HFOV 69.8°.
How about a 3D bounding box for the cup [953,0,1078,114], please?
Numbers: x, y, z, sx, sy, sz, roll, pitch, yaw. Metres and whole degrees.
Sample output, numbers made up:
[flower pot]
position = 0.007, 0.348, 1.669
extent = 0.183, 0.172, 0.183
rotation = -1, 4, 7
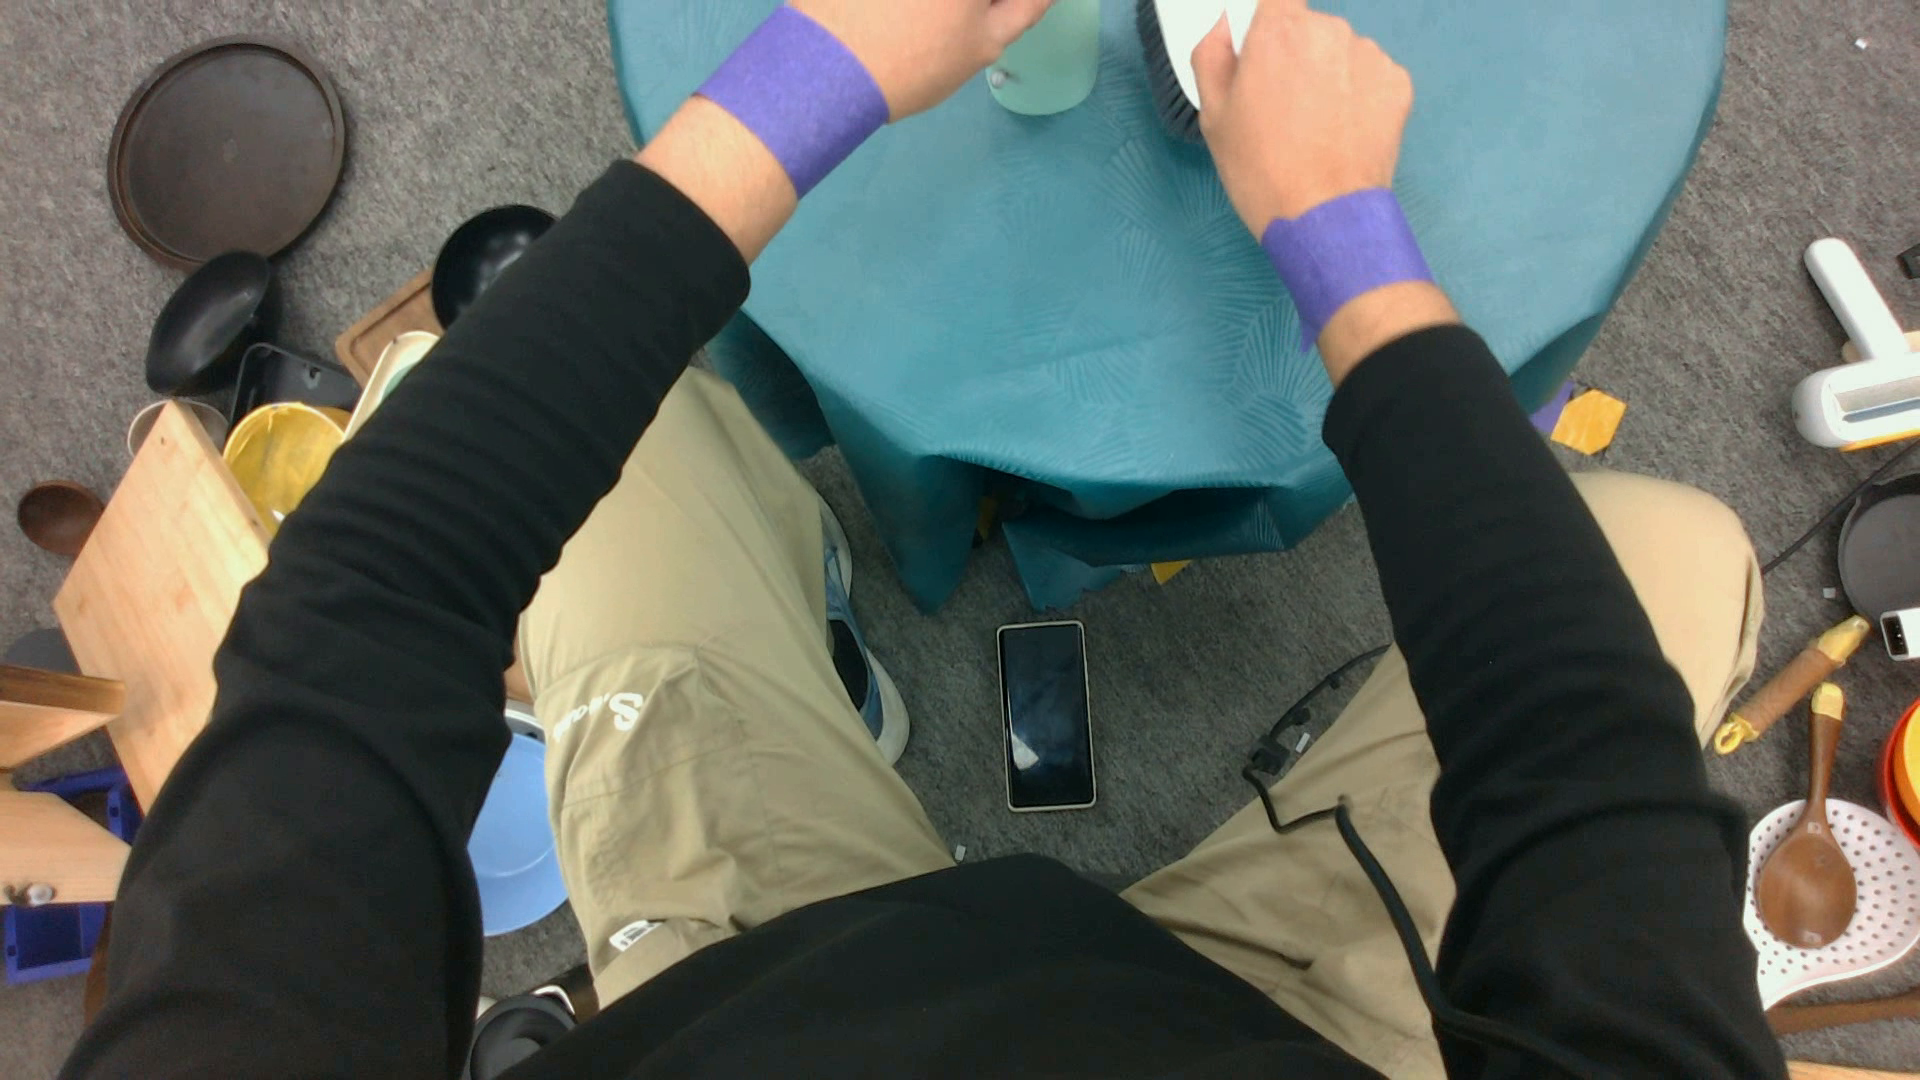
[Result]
[cup]
position = 0.030, -0.269, 0.684
extent = 0.067, 0.132, 0.067
rotation = -1, 82, 4

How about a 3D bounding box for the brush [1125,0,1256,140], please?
[brush]
position = 0.120, -0.259, 0.679
extent = 0.050, 0.072, 0.099
rotation = -3, 78, -16
